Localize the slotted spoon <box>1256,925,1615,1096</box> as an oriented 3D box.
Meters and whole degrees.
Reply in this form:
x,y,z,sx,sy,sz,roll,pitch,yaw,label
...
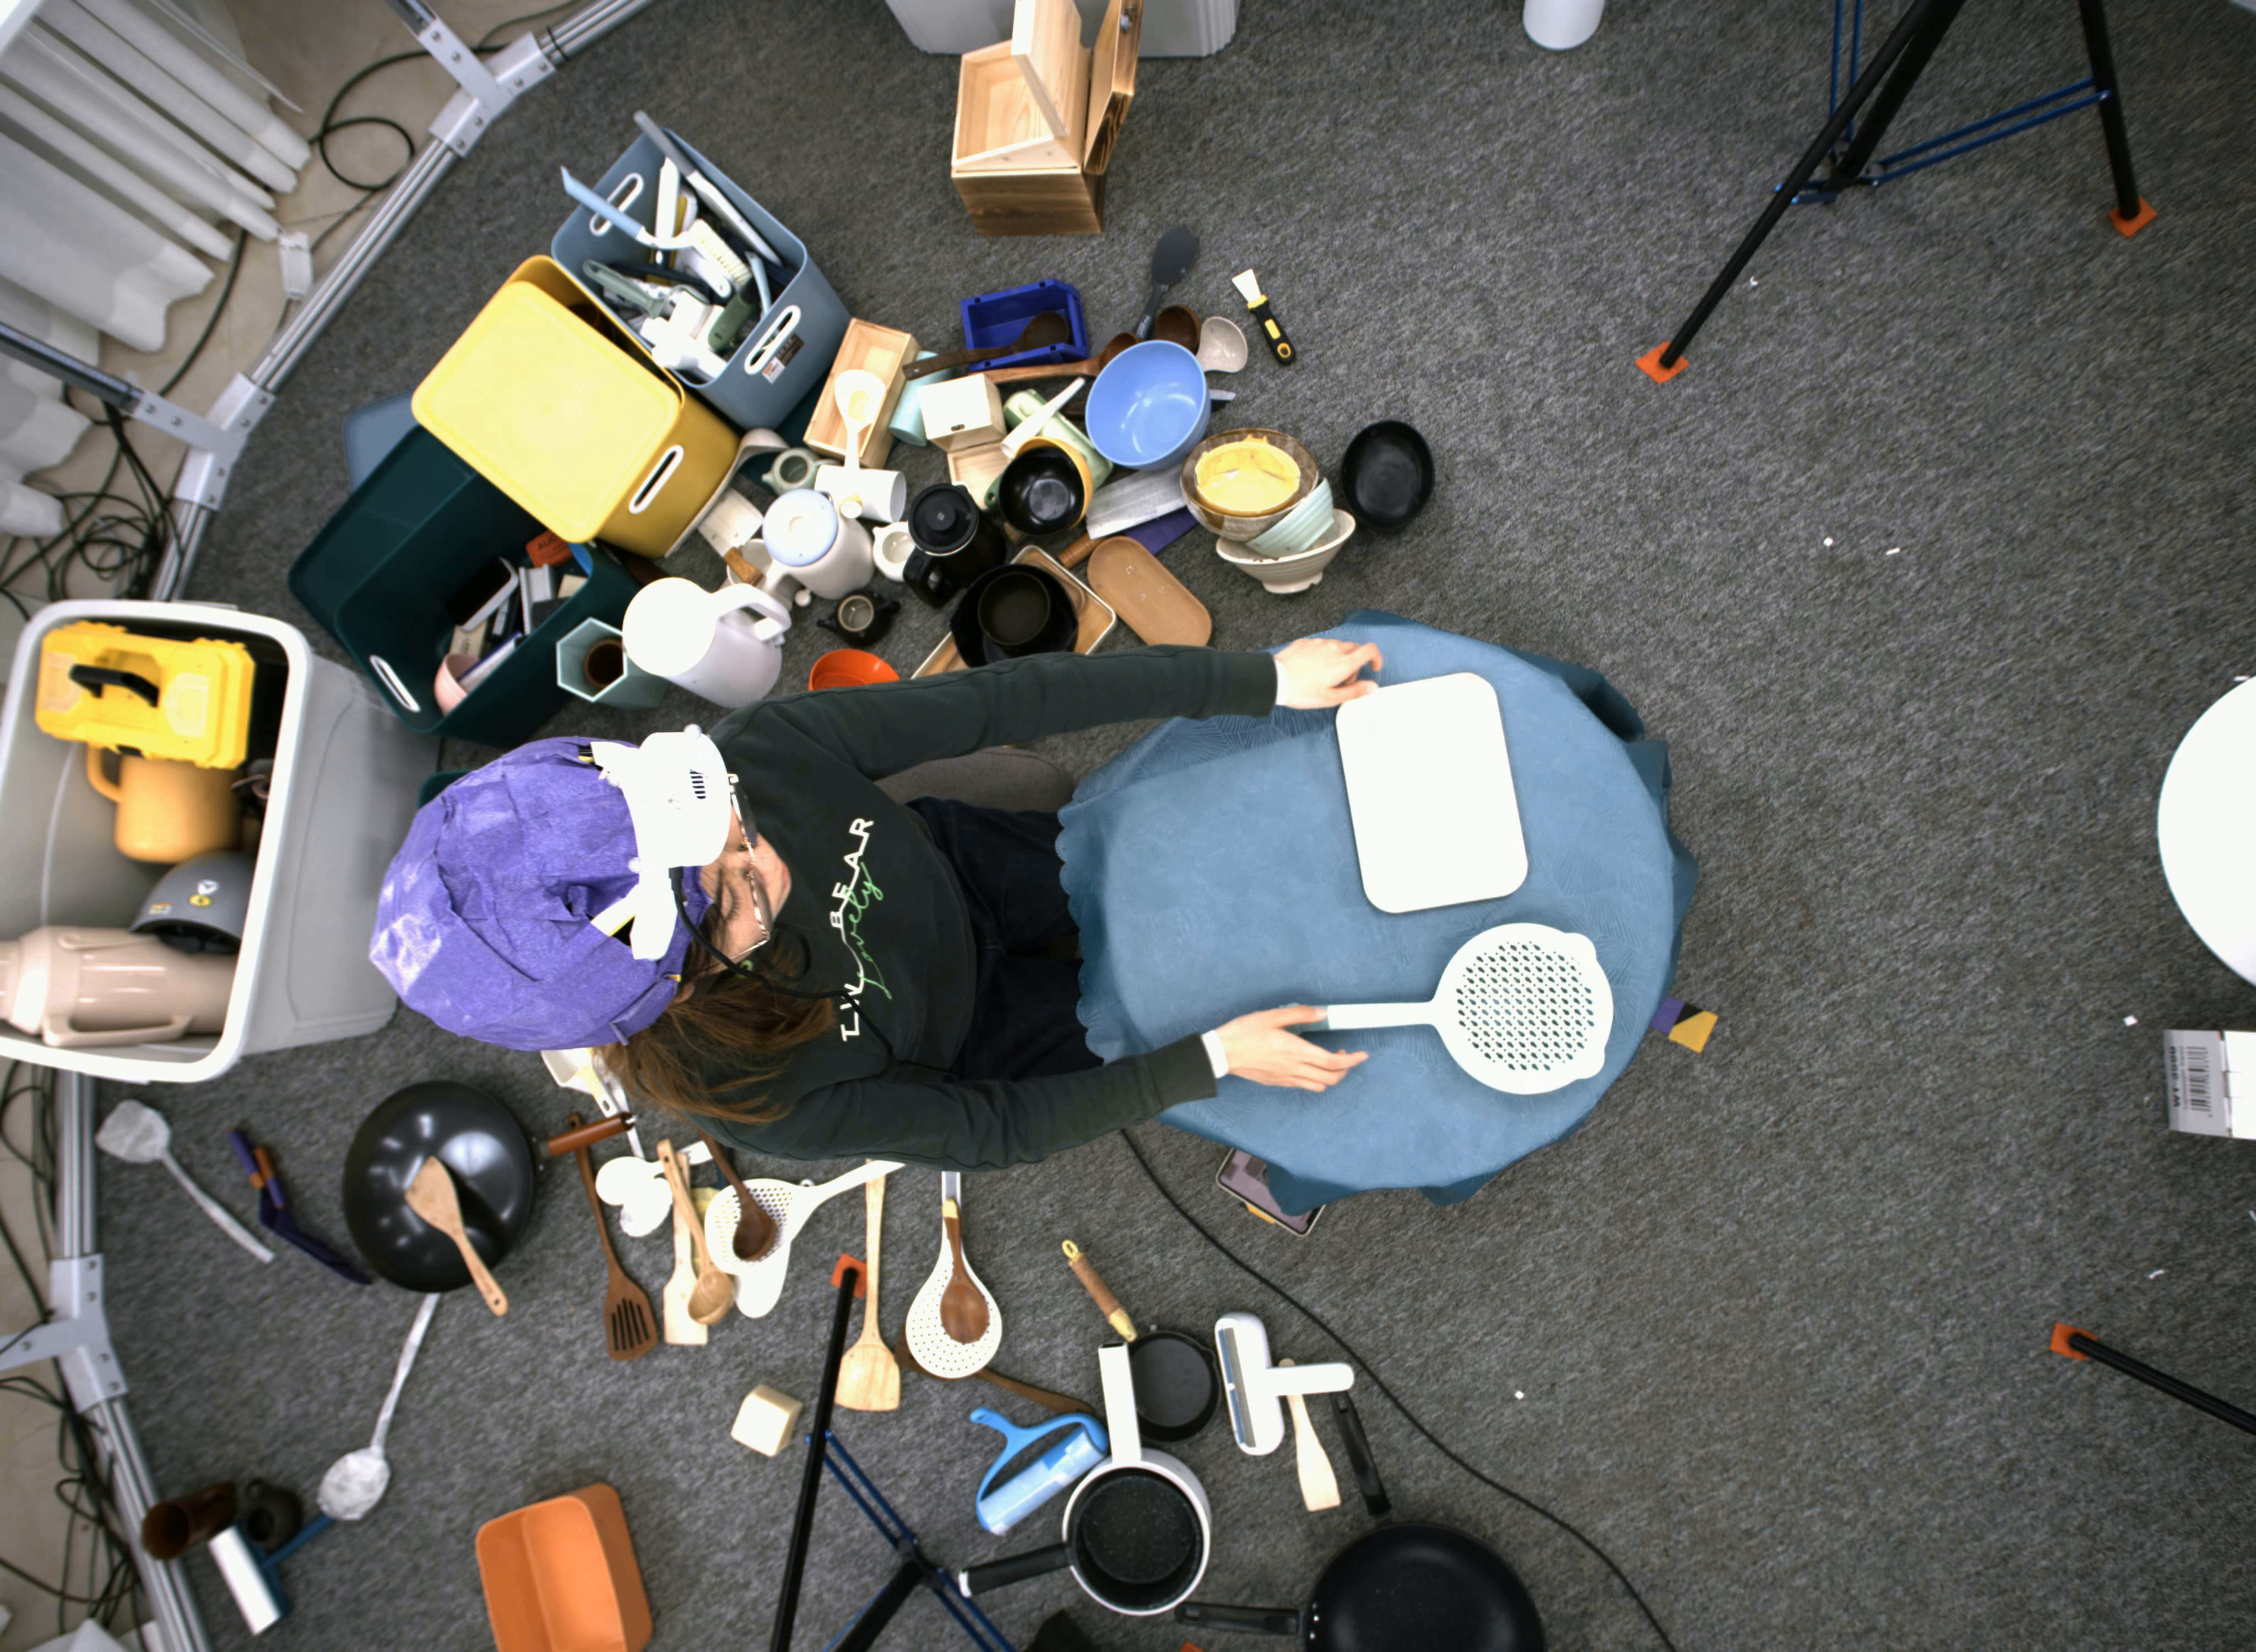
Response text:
x,y,z,sx,sy,sz,roll,pitch,yaw,label
0.308,0.191,1.417,0.360,0.075,0.168,-4,84,10,slotted spoon

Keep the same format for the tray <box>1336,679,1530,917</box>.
x,y,z,sx,sy,sz,roll,pitch,yaw,label
0.321,-0.031,1.454,0.172,0.017,0.238,-10,84,9,tray
